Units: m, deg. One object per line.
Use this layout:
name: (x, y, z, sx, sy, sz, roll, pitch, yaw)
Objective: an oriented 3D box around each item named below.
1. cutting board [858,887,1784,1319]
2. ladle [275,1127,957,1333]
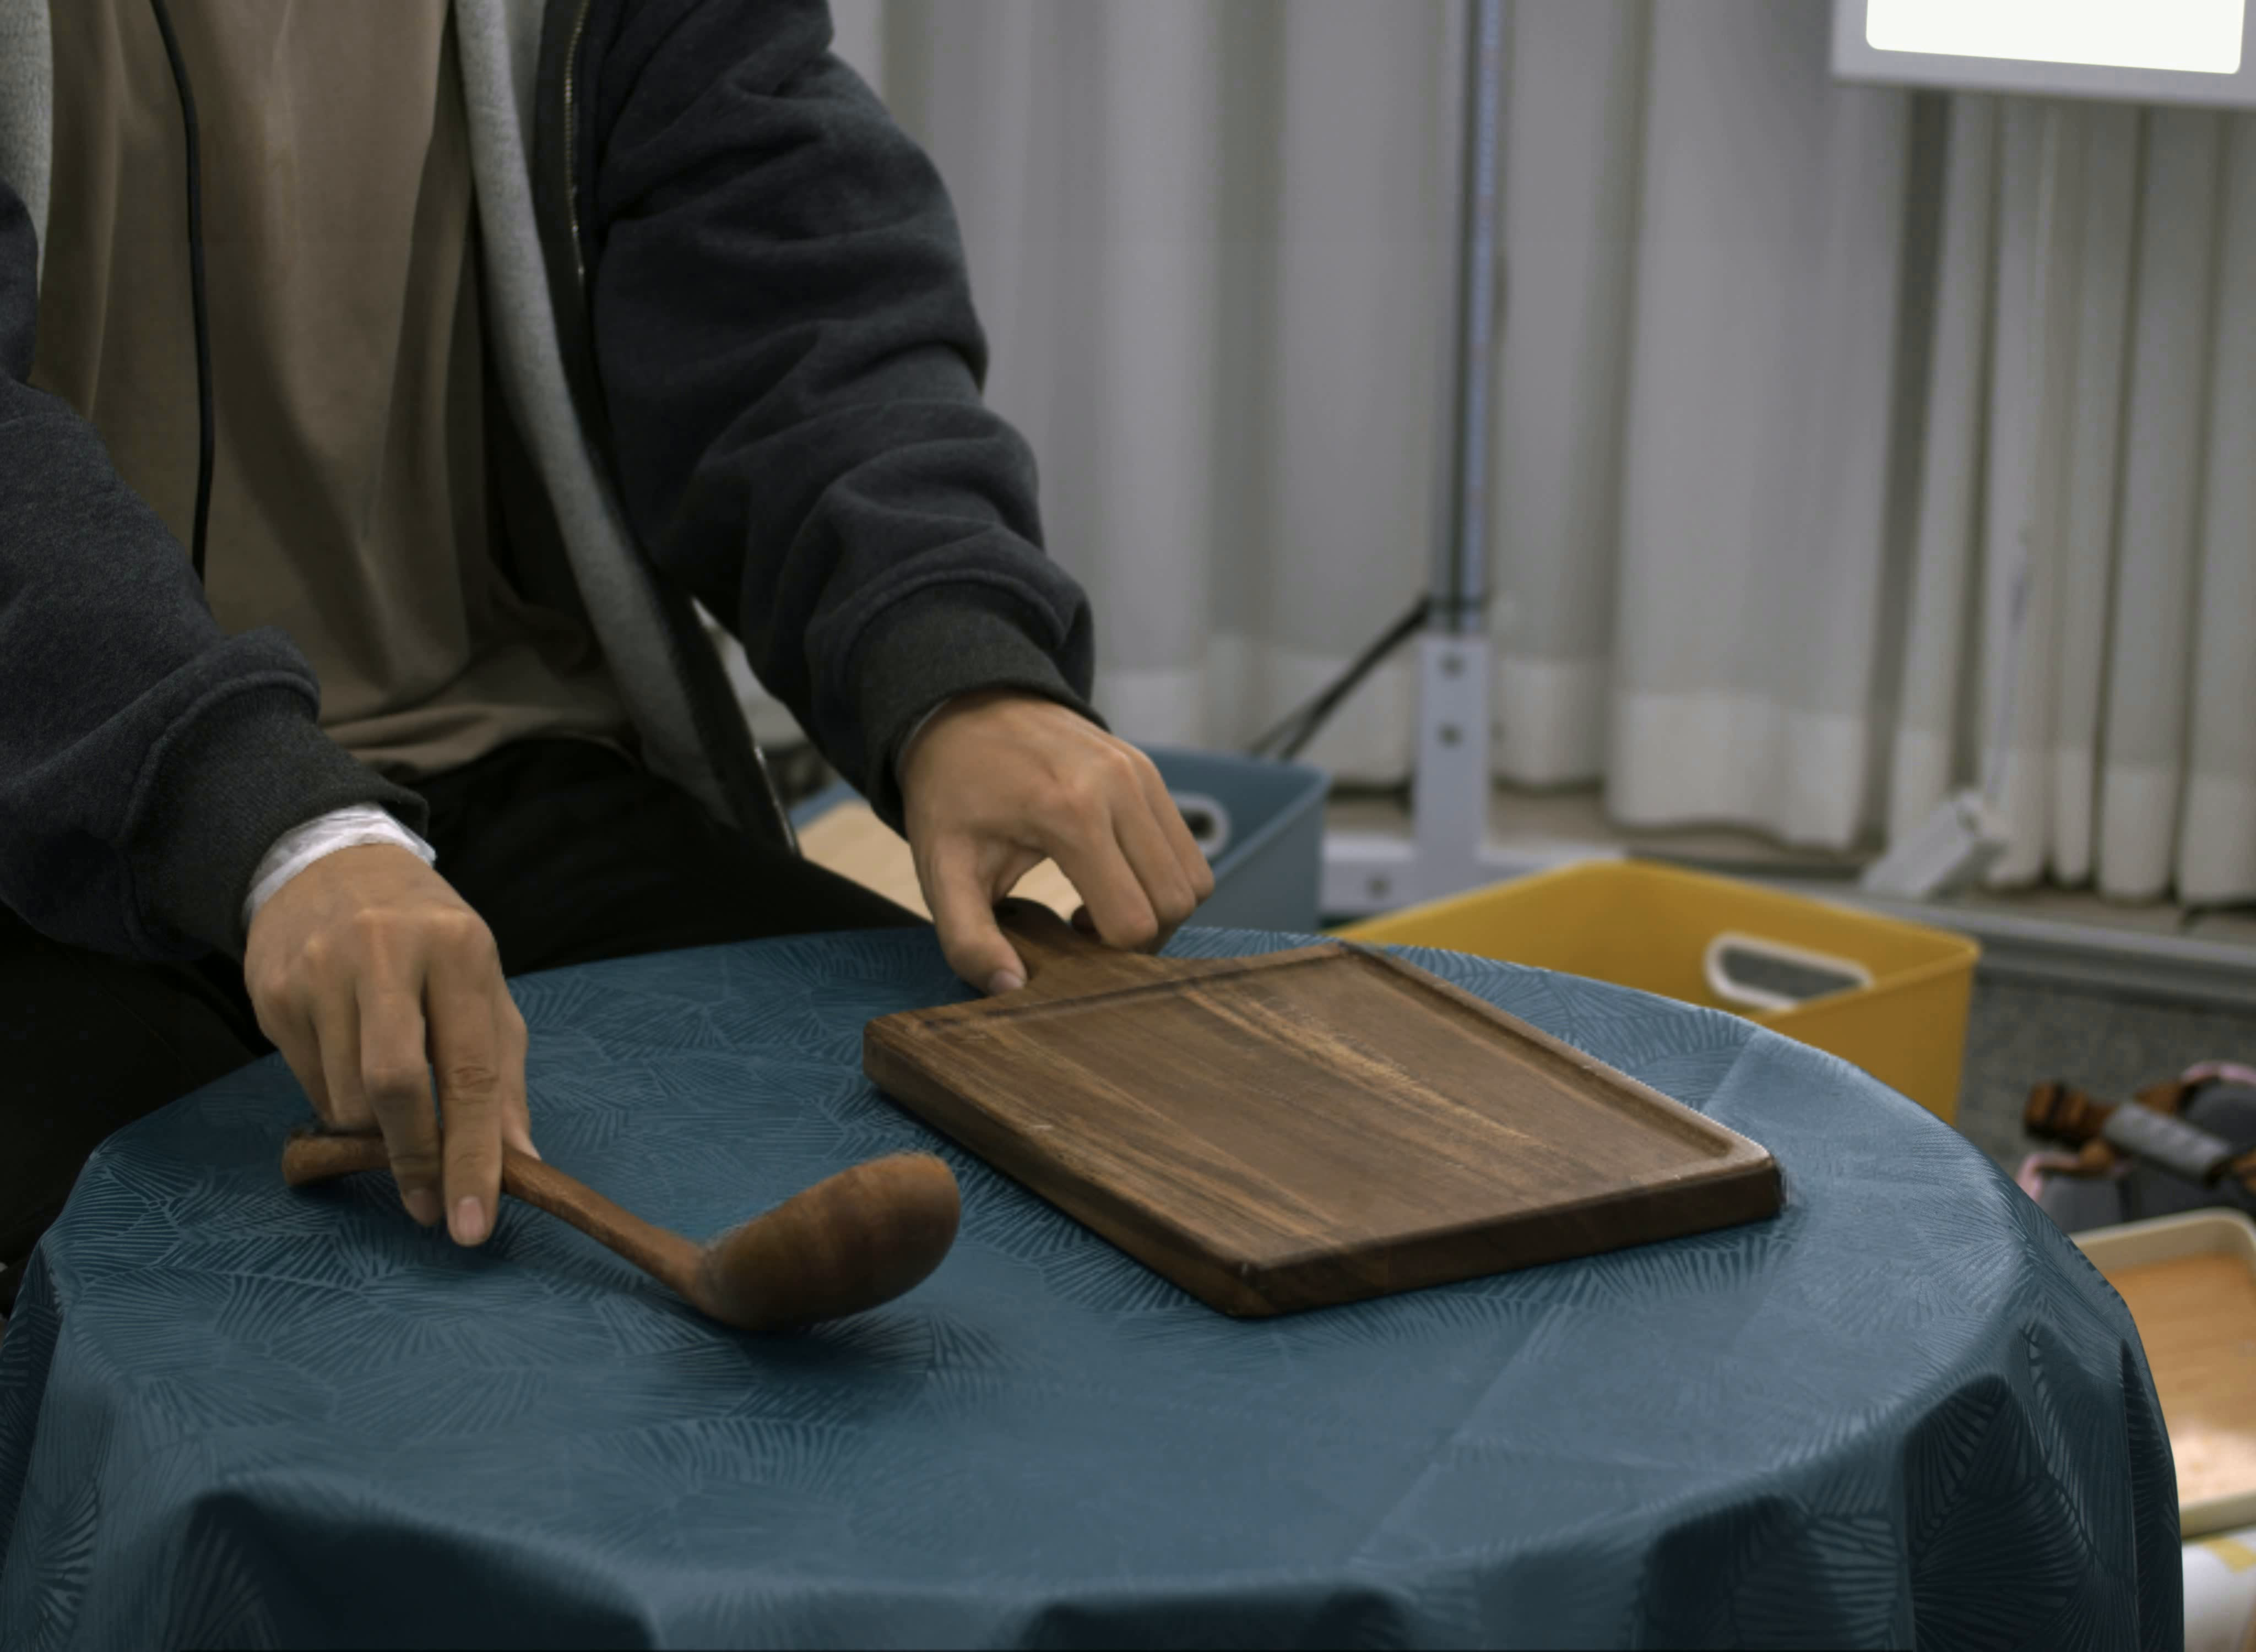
cutting board: (0.032, 0.077, 1.695, 0.202, 0.023, 0.347, -7, 19, -29)
ladle: (-0.157, 0.100, 1.540, 0.257, 0.065, 0.077, 13, 7, 39)
